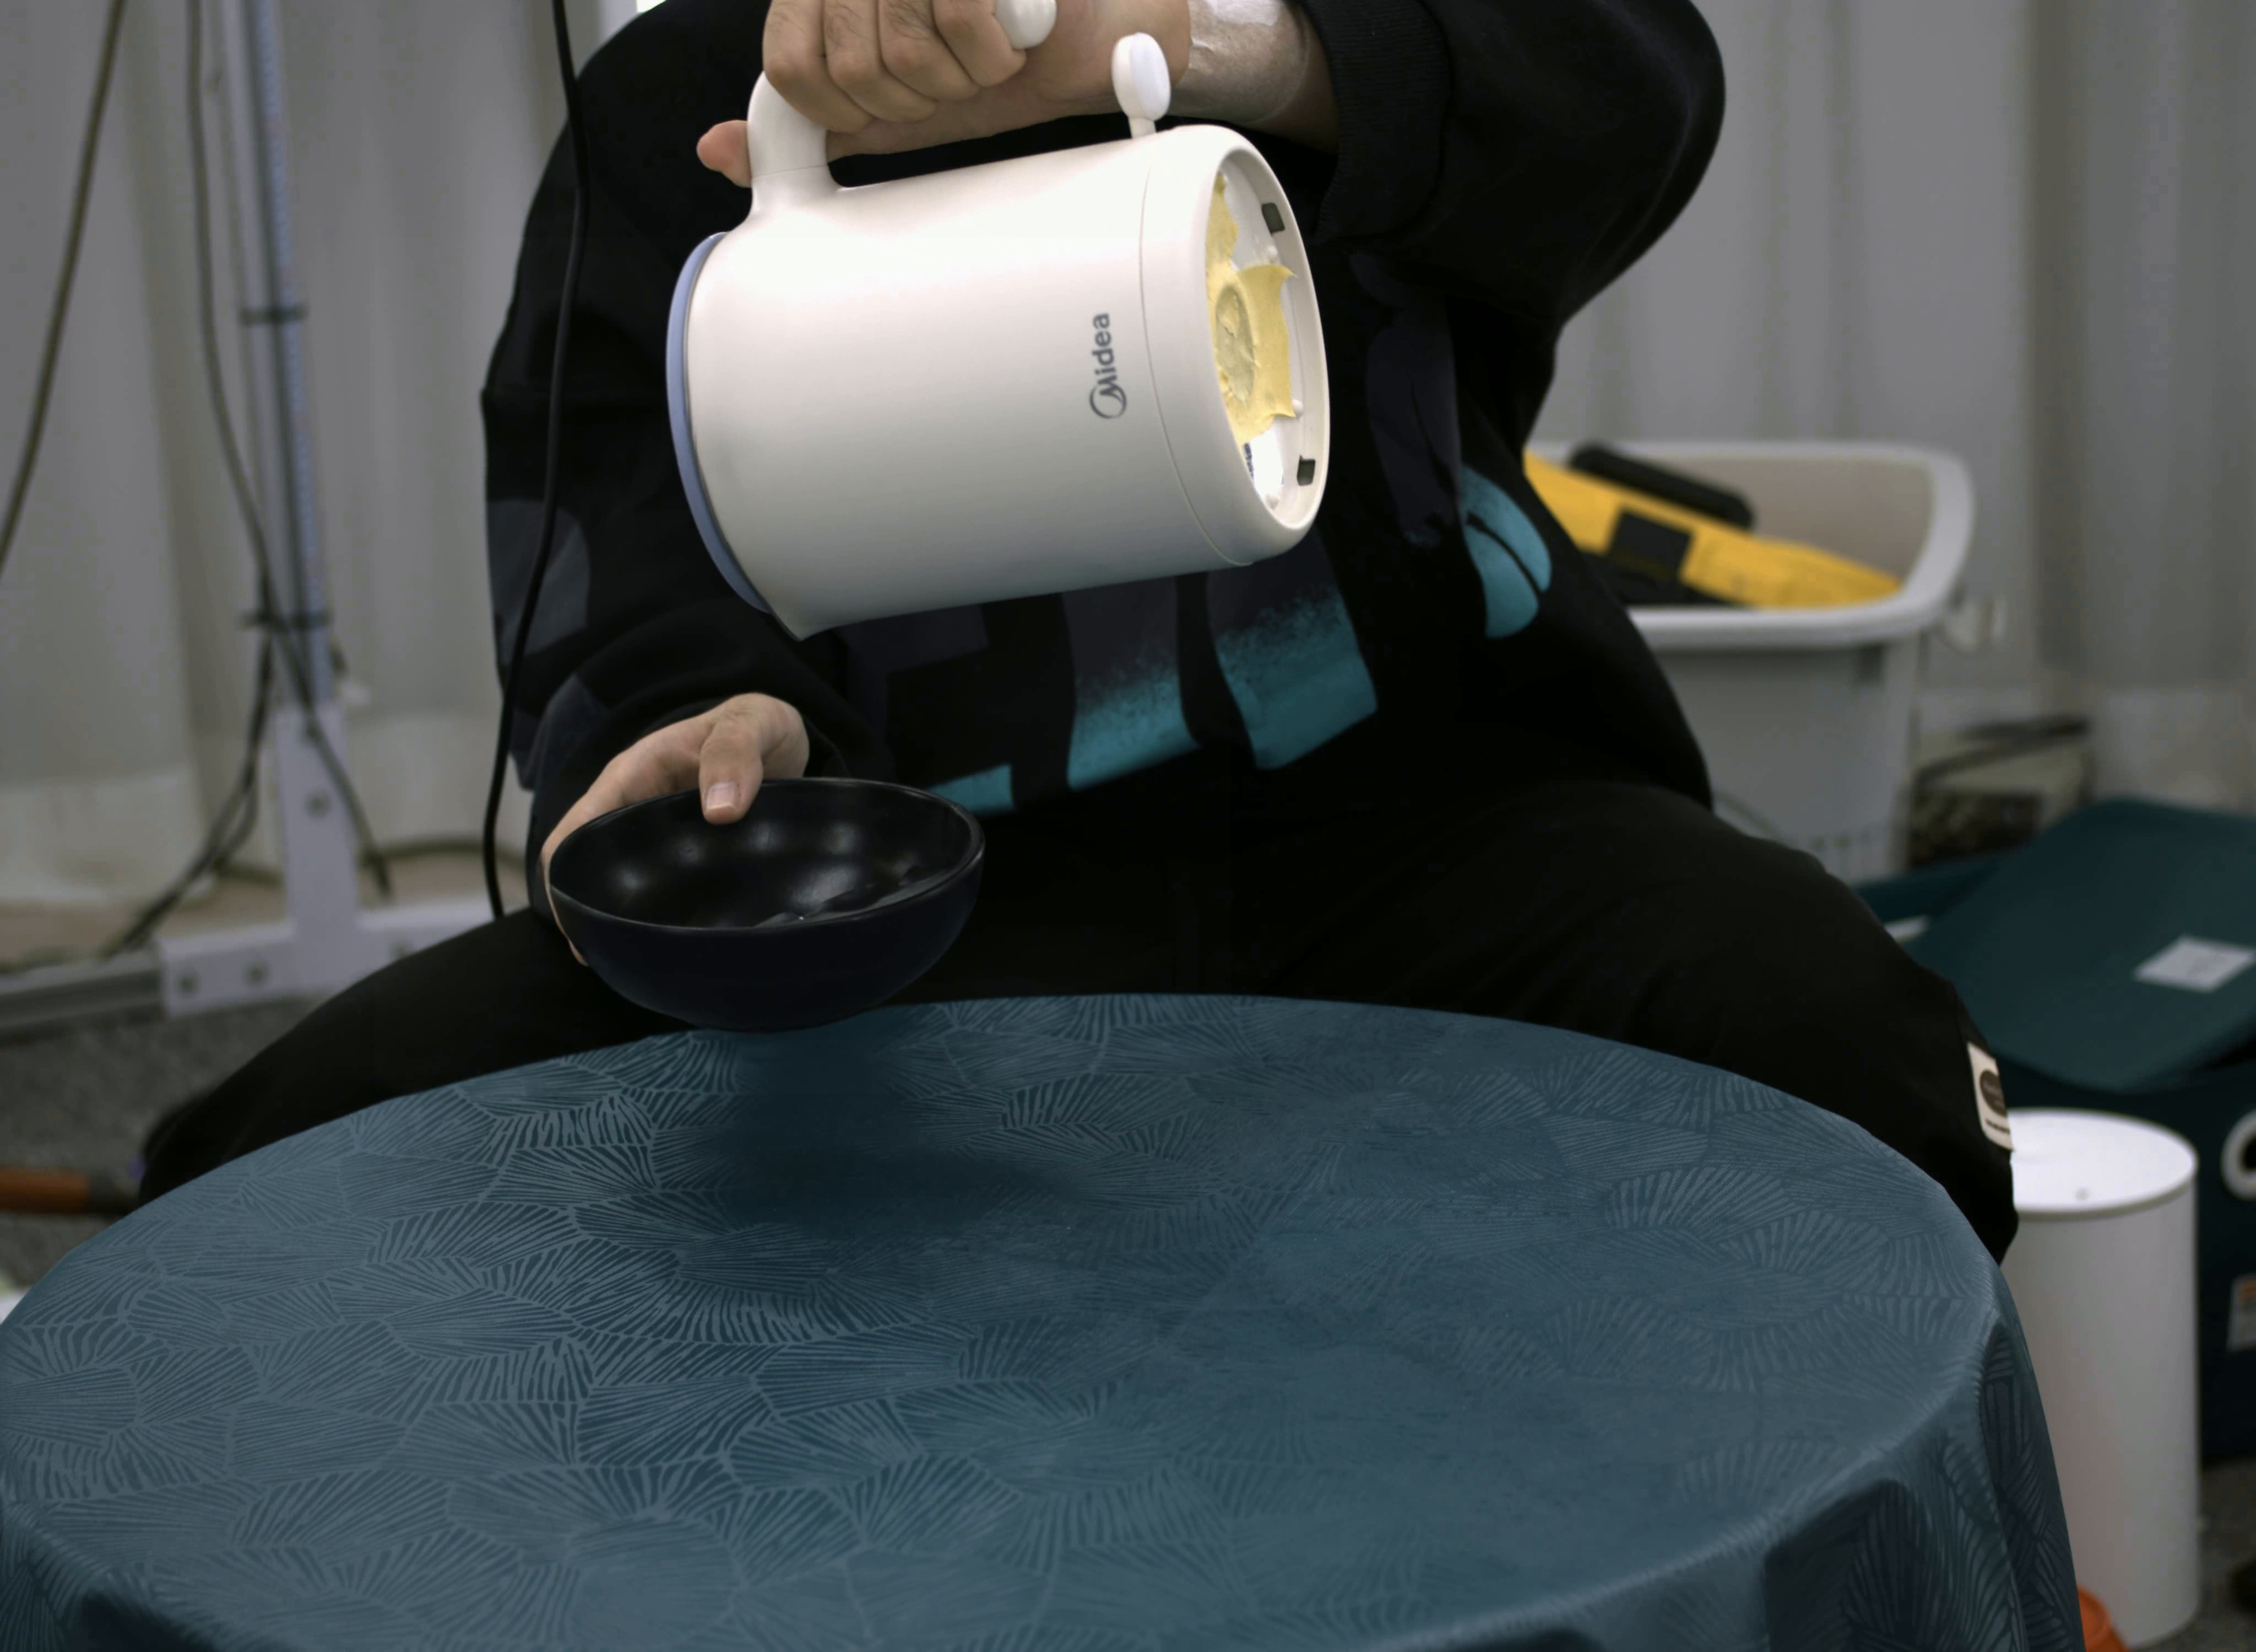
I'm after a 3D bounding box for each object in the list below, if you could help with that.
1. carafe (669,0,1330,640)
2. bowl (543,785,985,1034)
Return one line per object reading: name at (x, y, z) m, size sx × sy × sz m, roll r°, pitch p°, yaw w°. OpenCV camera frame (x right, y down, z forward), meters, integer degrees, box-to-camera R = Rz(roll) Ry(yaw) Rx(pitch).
carafe at (-0.040, -0.158, 1.654) m, size 0.182 × 0.191 × 0.132 m, roll -5°, pitch 4°, yaw 17°
bowl at (-0.113, 0.031, 1.721) m, size 0.139 × 0.049 × 0.141 m, roll -3°, pitch 17°, yaw 1°
